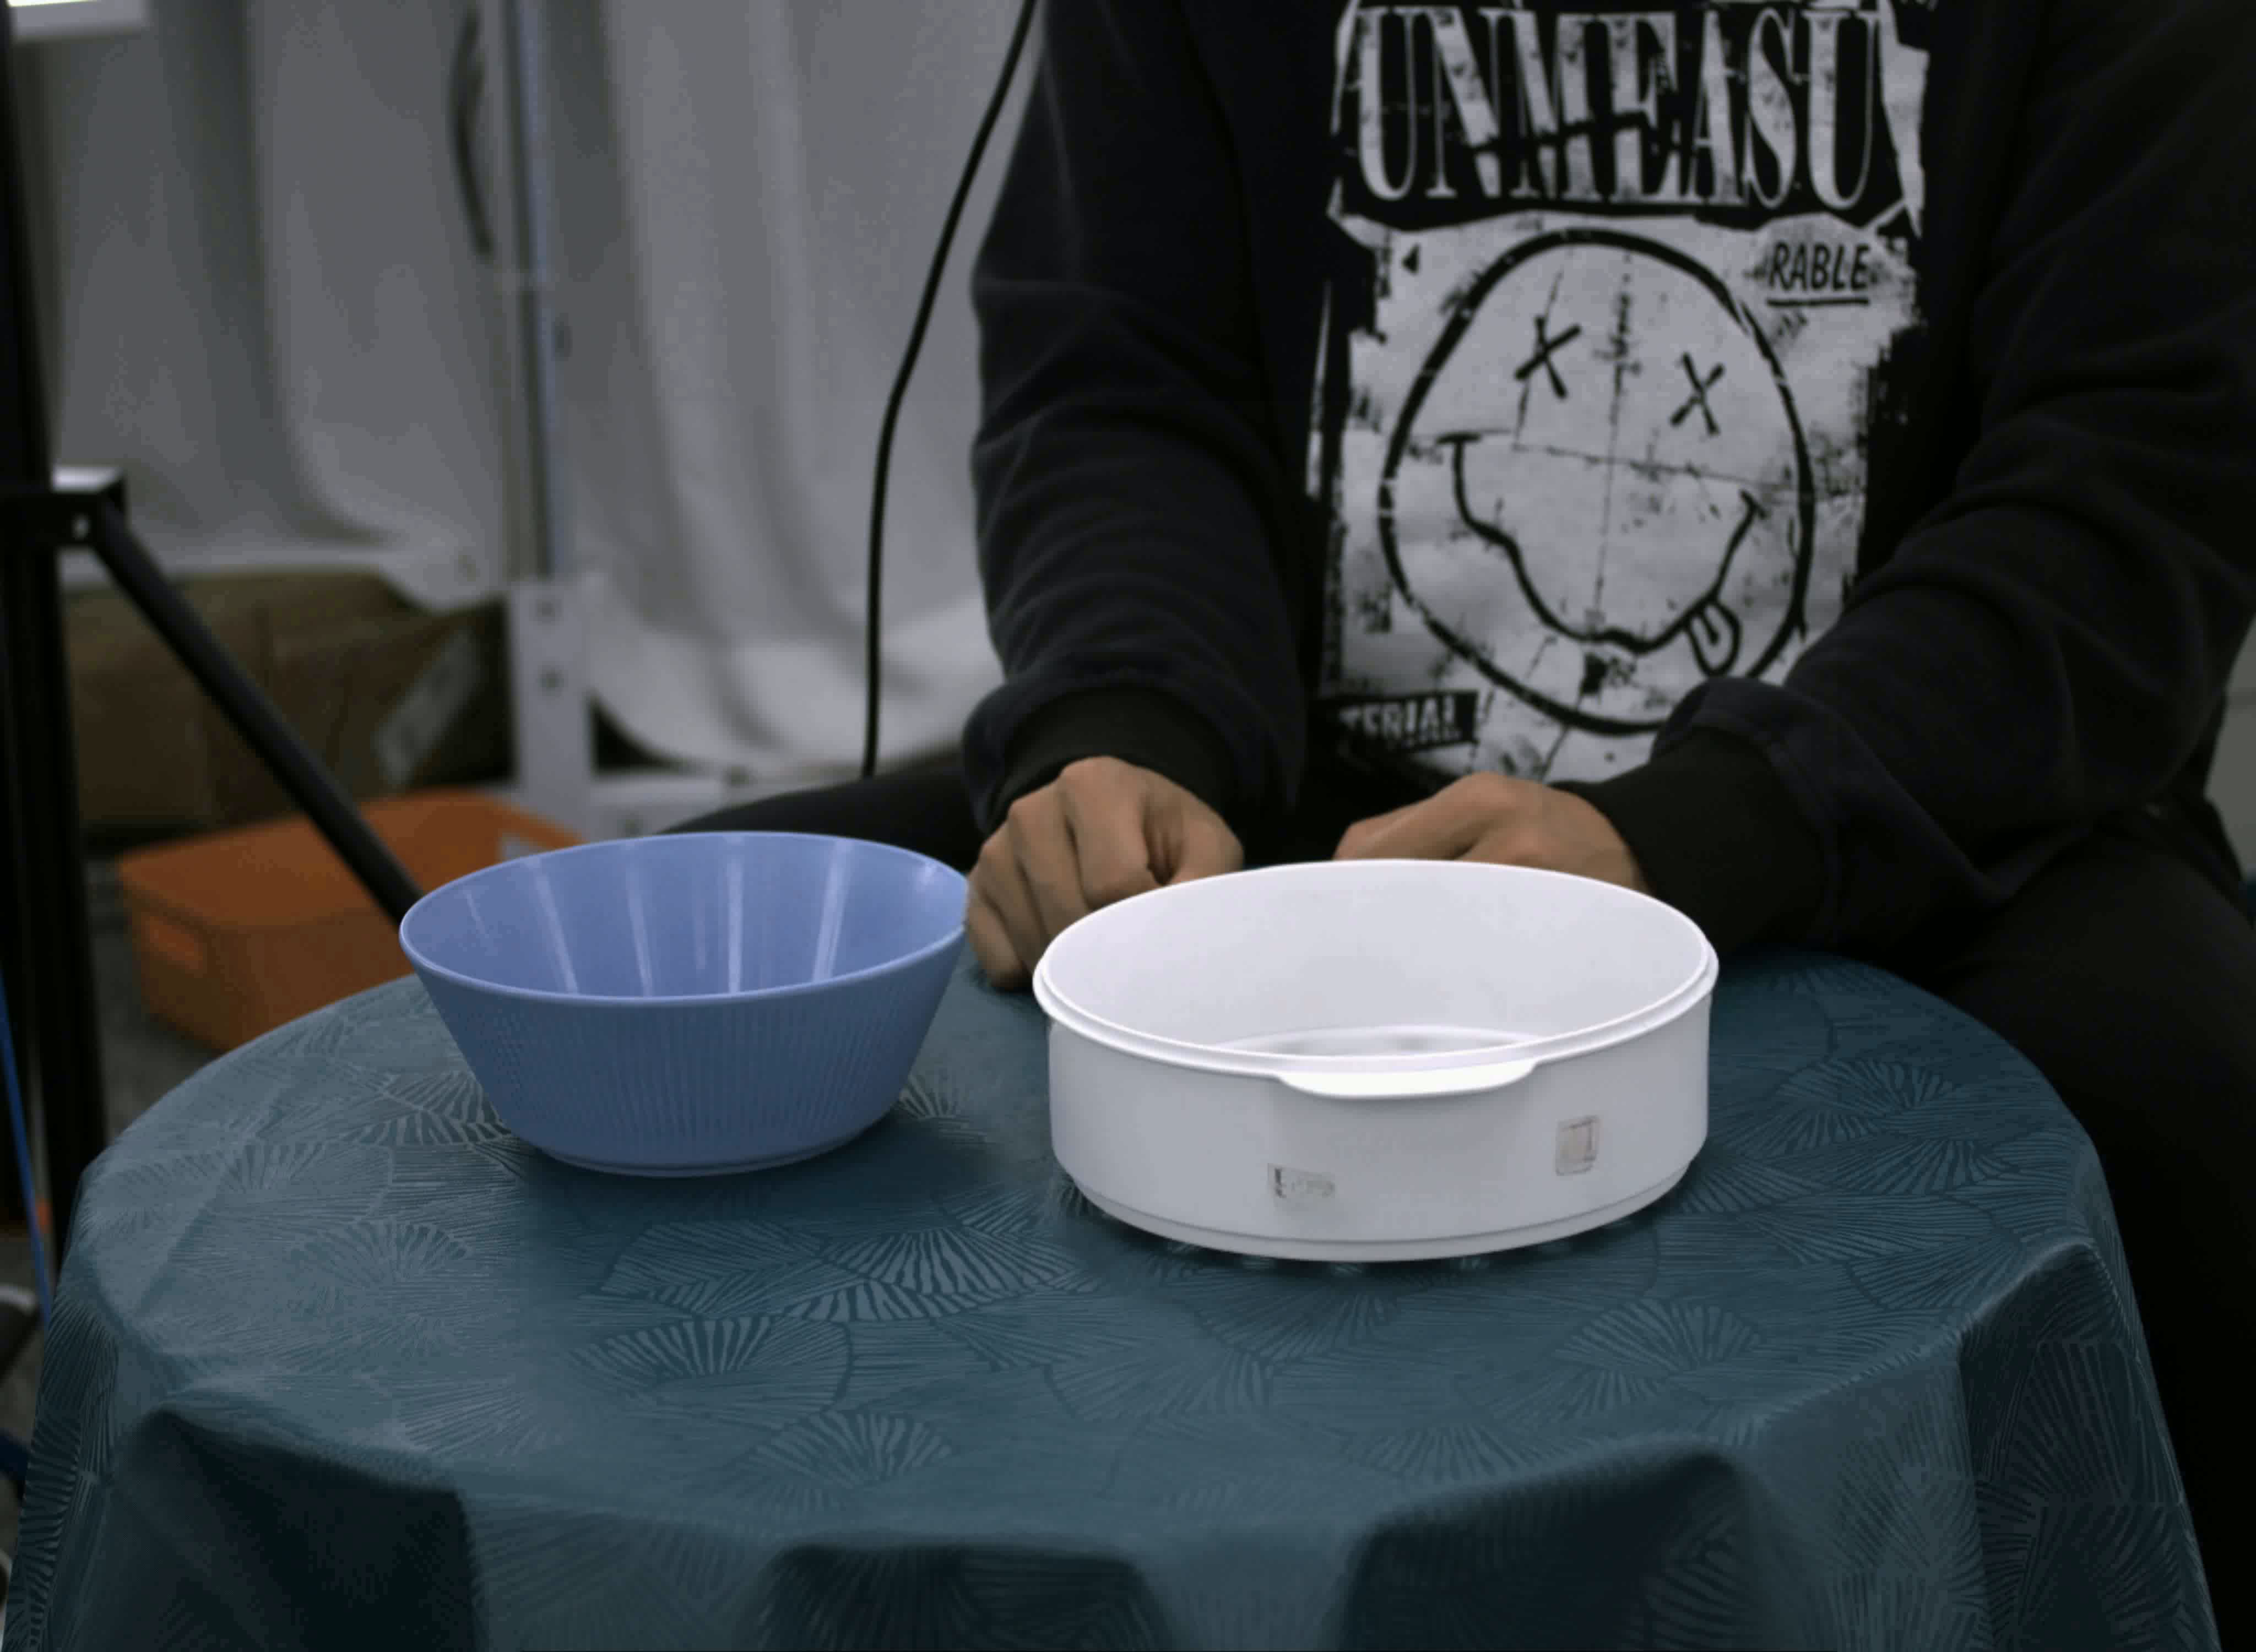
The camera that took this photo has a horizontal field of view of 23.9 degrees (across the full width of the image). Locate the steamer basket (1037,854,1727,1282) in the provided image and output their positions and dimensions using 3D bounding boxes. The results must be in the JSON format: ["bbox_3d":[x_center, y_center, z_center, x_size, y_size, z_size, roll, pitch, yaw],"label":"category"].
[{"bbox_3d":[0.075,0.071,1.554,0.201,0.069,0.232,-3,18,-2],"label":"steamer basket"}]

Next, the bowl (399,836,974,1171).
[{"bbox_3d":[-0.134,0.057,1.633,0.175,0.070,0.177,-2,16,-1],"label":"bowl"}]
